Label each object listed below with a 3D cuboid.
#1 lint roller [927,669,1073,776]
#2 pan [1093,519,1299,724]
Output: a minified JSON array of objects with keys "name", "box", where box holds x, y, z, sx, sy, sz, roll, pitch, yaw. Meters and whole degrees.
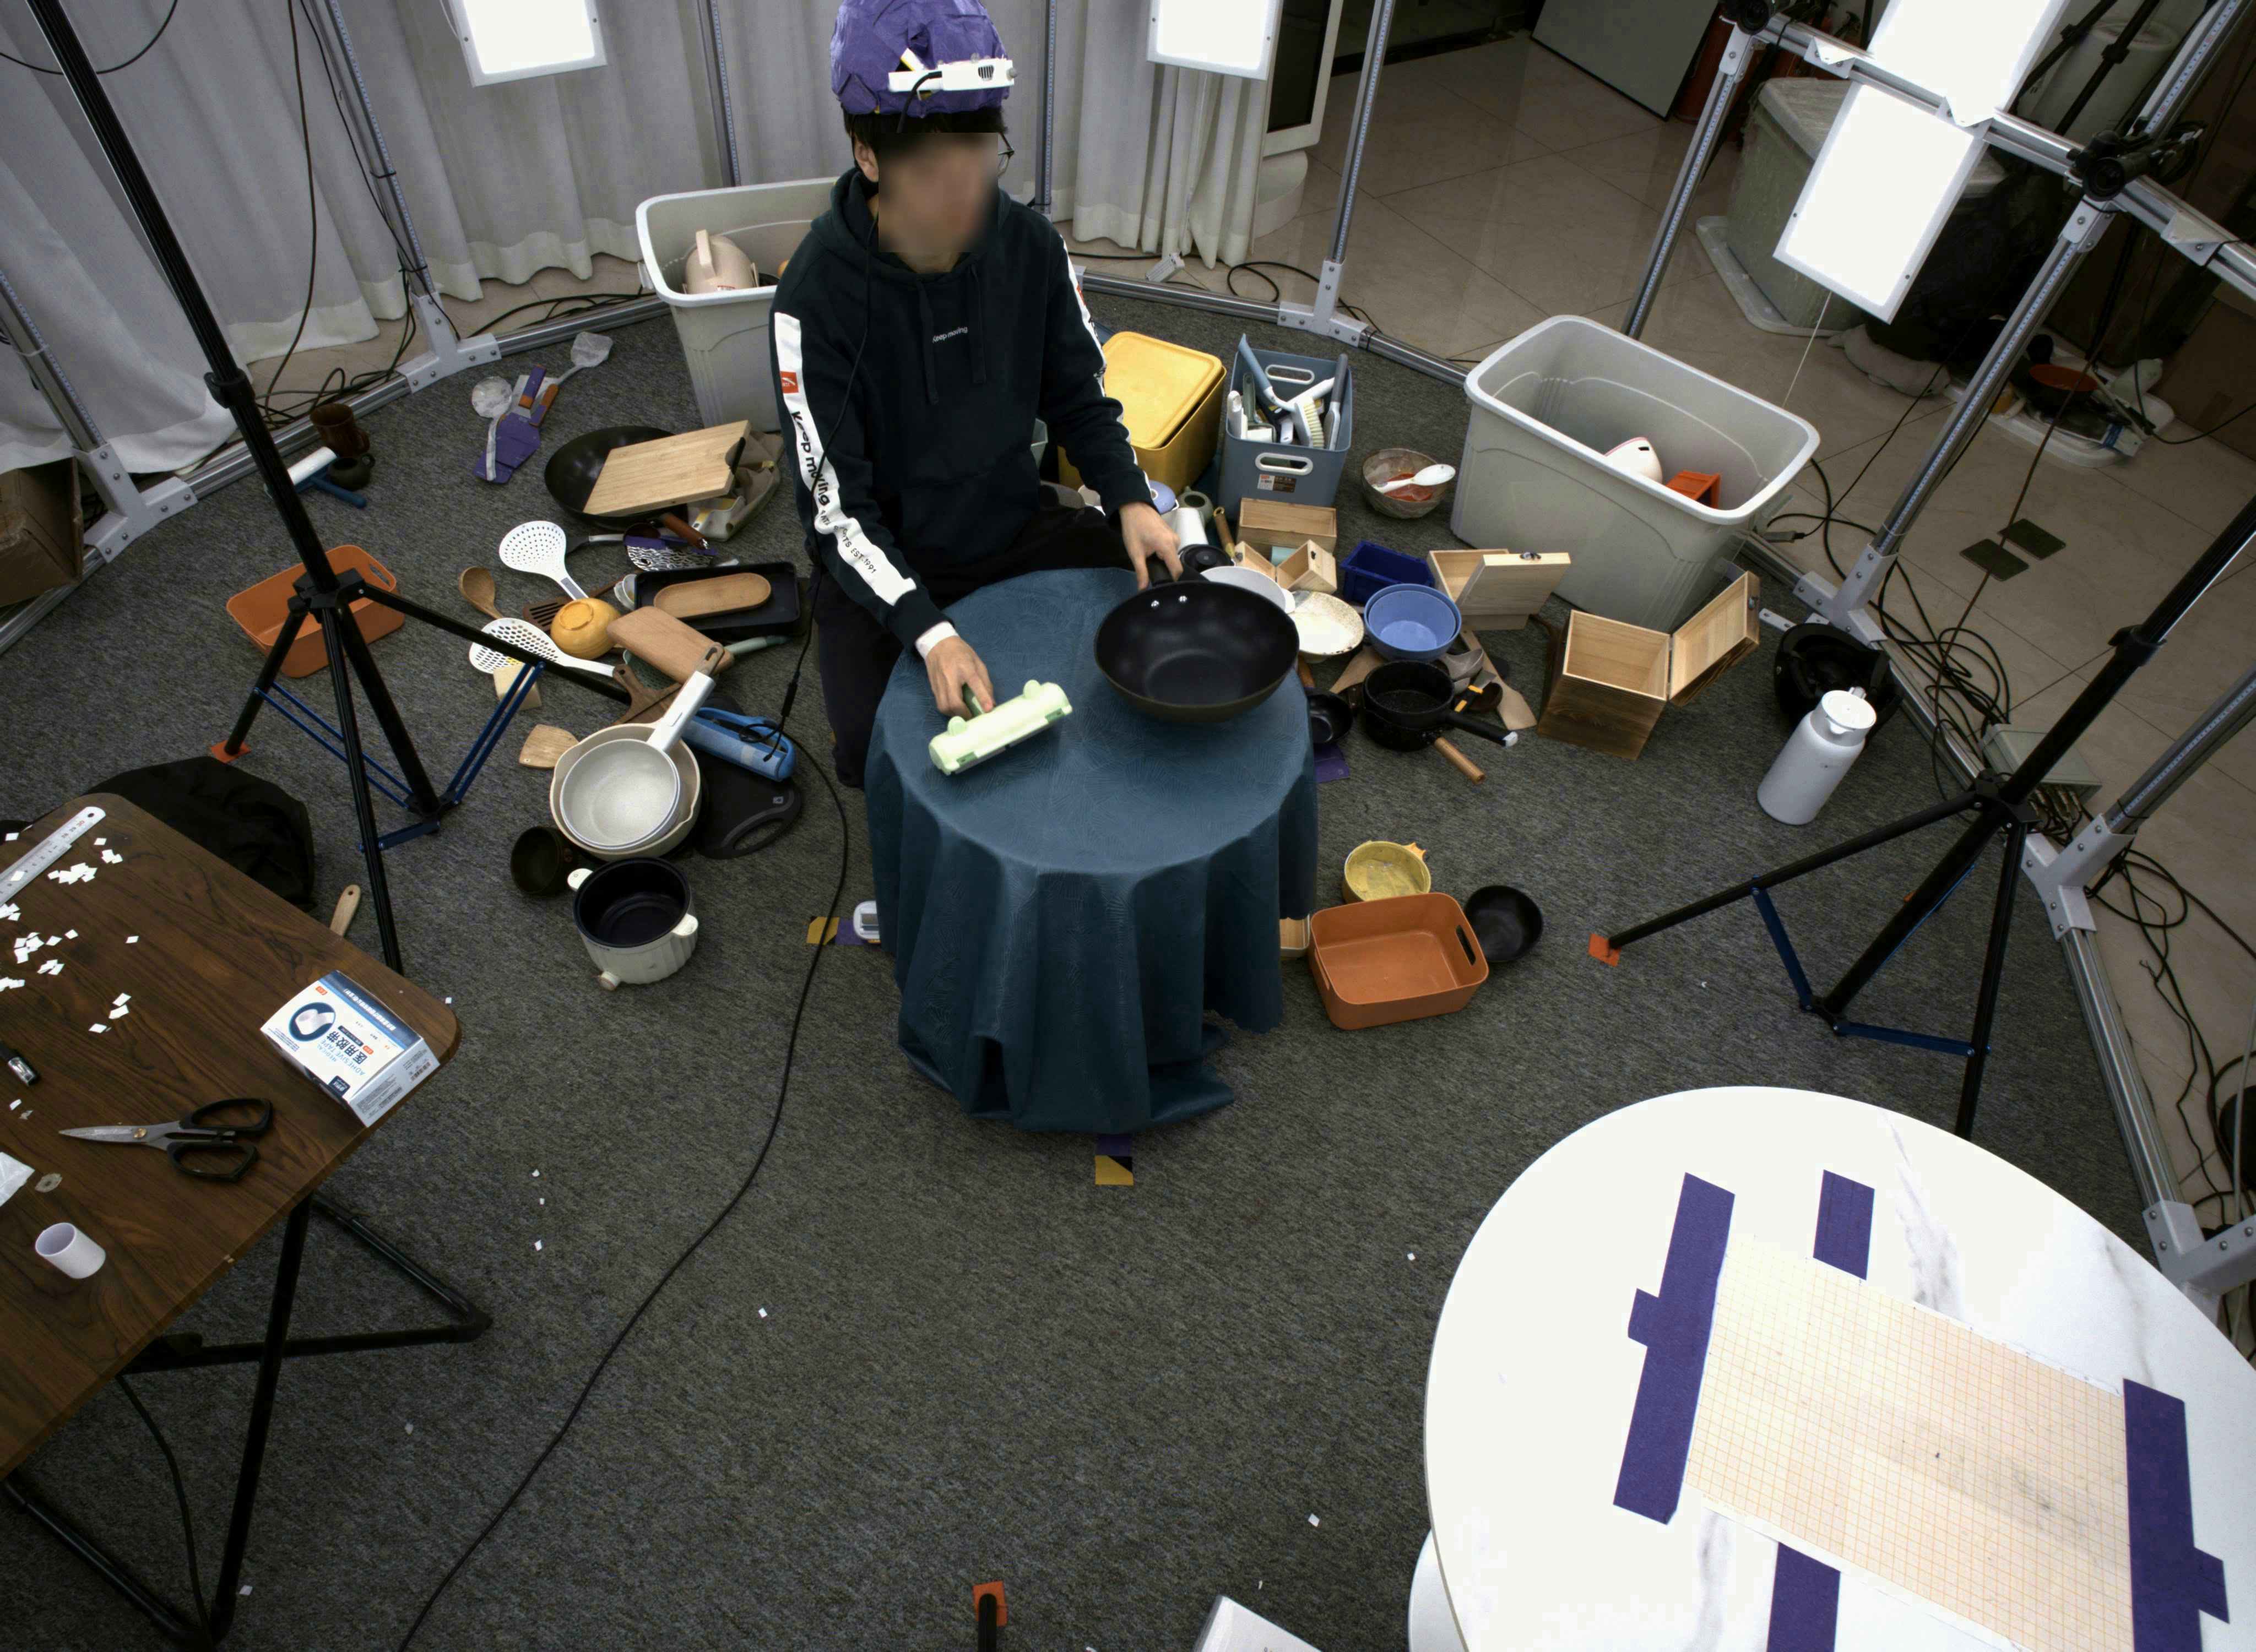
[{"name":"lint roller","box":[-0.202,-0.172,1.741,0.199,0.080,0.187,-28,58,-18]},{"name":"pan","box":[0.069,-0.292,1.856,0.288,0.085,0.475,-13,45,-10]}]
